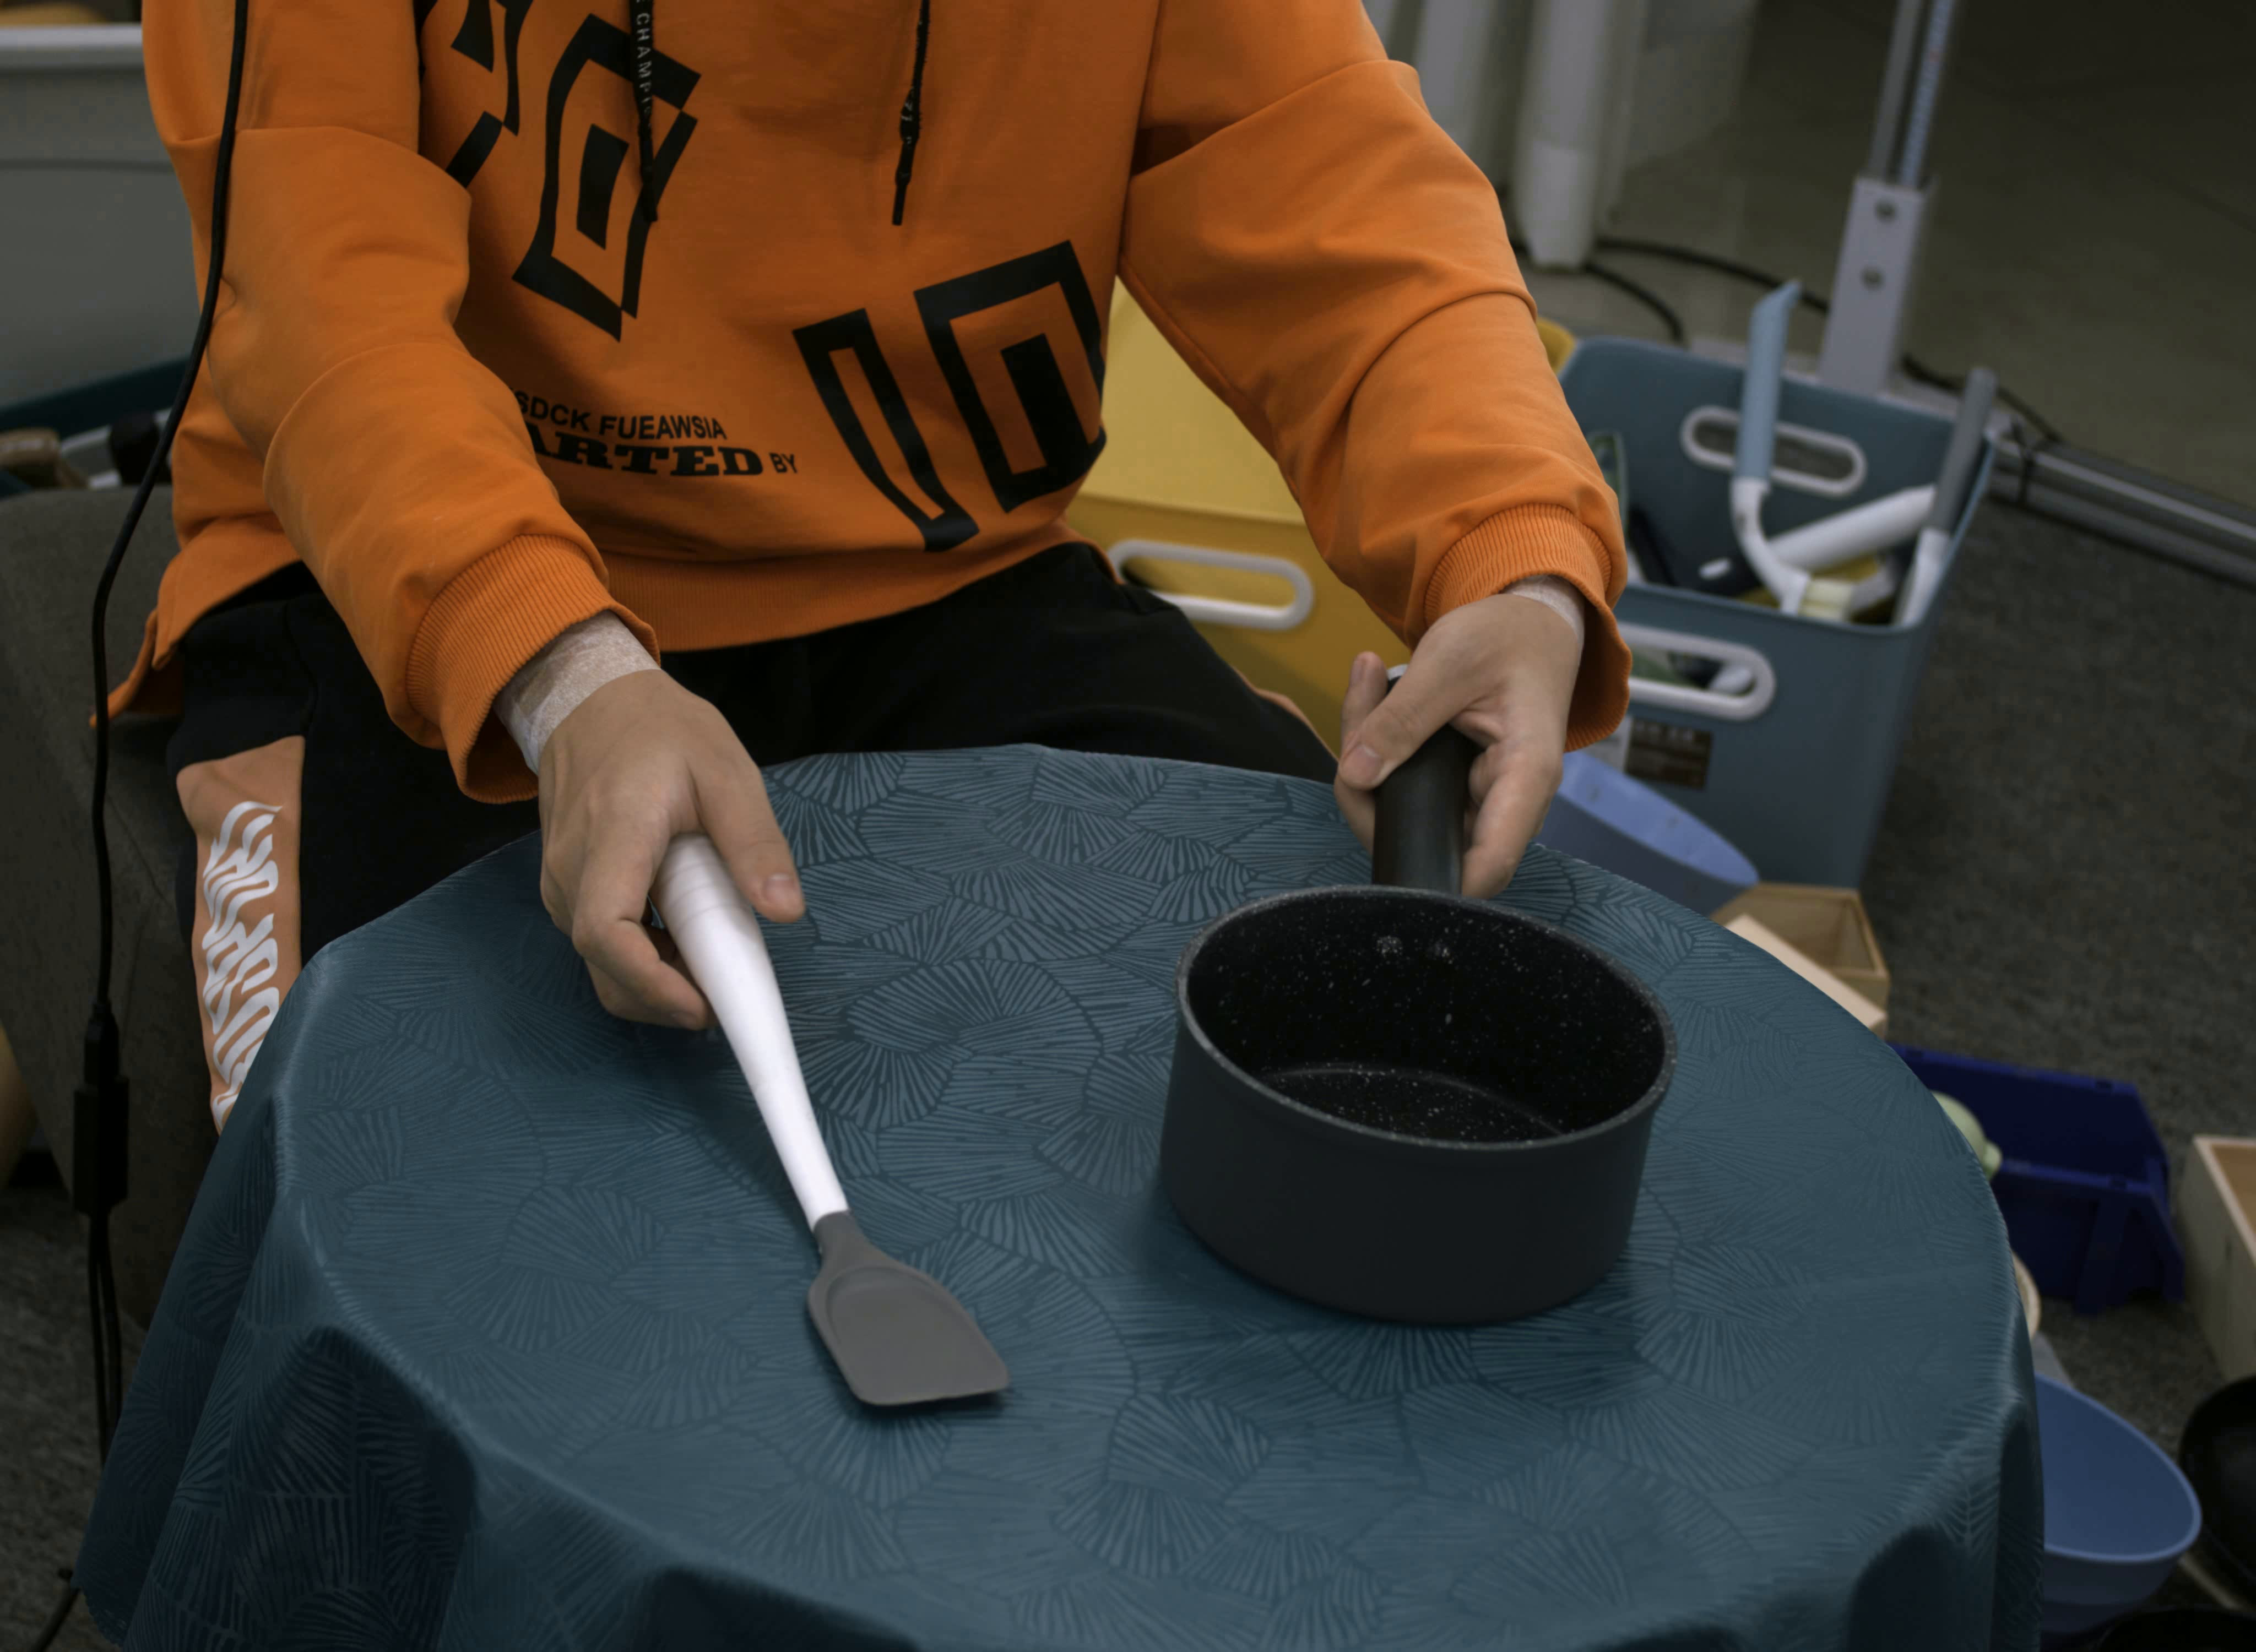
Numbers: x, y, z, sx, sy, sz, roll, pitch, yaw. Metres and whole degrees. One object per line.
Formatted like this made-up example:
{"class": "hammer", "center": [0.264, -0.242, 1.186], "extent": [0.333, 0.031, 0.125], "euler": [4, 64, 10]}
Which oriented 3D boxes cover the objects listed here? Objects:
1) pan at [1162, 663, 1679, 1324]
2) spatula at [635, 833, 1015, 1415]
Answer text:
{"class": "pan", "center": [0.102, 0.054, 1.864], "extent": [0.171, 0.086, 0.330], "euler": [9, 30, 1]}
{"class": "spatula", "center": [-0.109, 0.101, 1.771], "extent": [0.058, 0.032, 0.290], "euler": [-1, 38, -25]}
